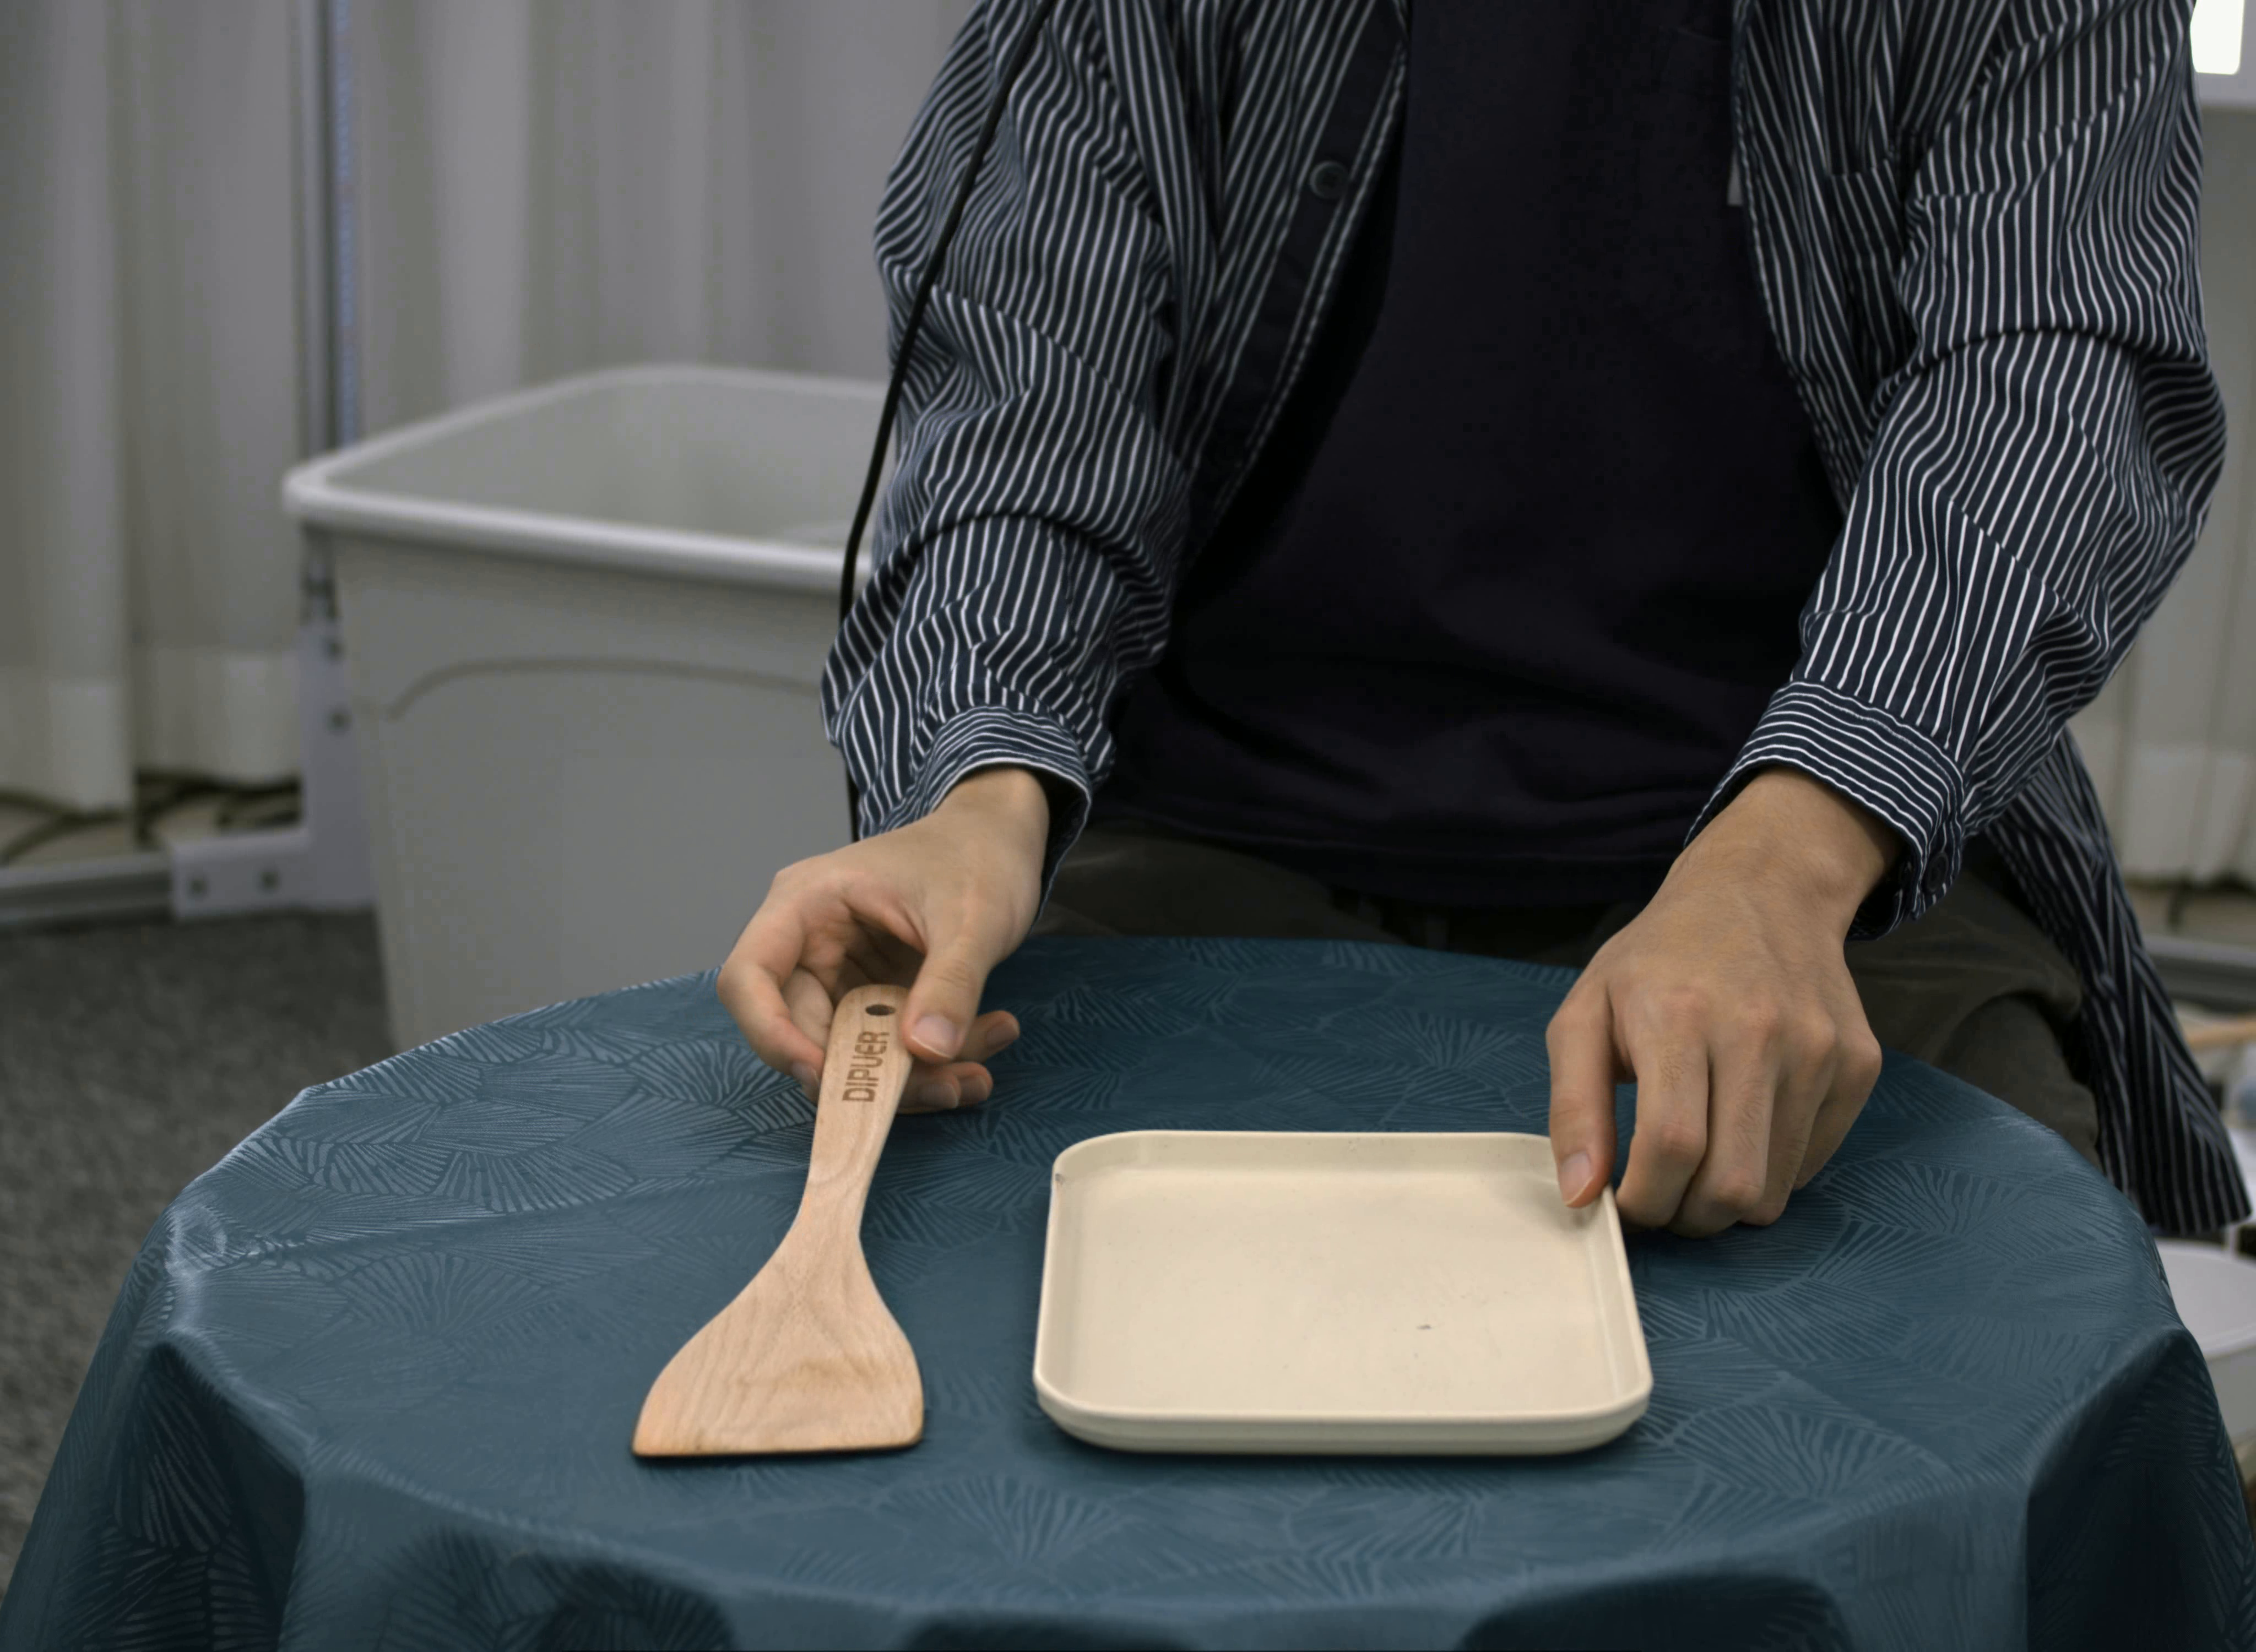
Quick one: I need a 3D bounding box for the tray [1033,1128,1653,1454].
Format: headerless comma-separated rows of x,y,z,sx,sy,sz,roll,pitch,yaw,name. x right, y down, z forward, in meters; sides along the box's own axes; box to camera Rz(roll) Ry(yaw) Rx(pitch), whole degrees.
0.060,0.133,1.522,0.171,0.017,0.238,1,15,1,tray

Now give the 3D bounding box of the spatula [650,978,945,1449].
-0.085,0.111,1.563,0.079,0.017,0.325,2,23,1,spatula
